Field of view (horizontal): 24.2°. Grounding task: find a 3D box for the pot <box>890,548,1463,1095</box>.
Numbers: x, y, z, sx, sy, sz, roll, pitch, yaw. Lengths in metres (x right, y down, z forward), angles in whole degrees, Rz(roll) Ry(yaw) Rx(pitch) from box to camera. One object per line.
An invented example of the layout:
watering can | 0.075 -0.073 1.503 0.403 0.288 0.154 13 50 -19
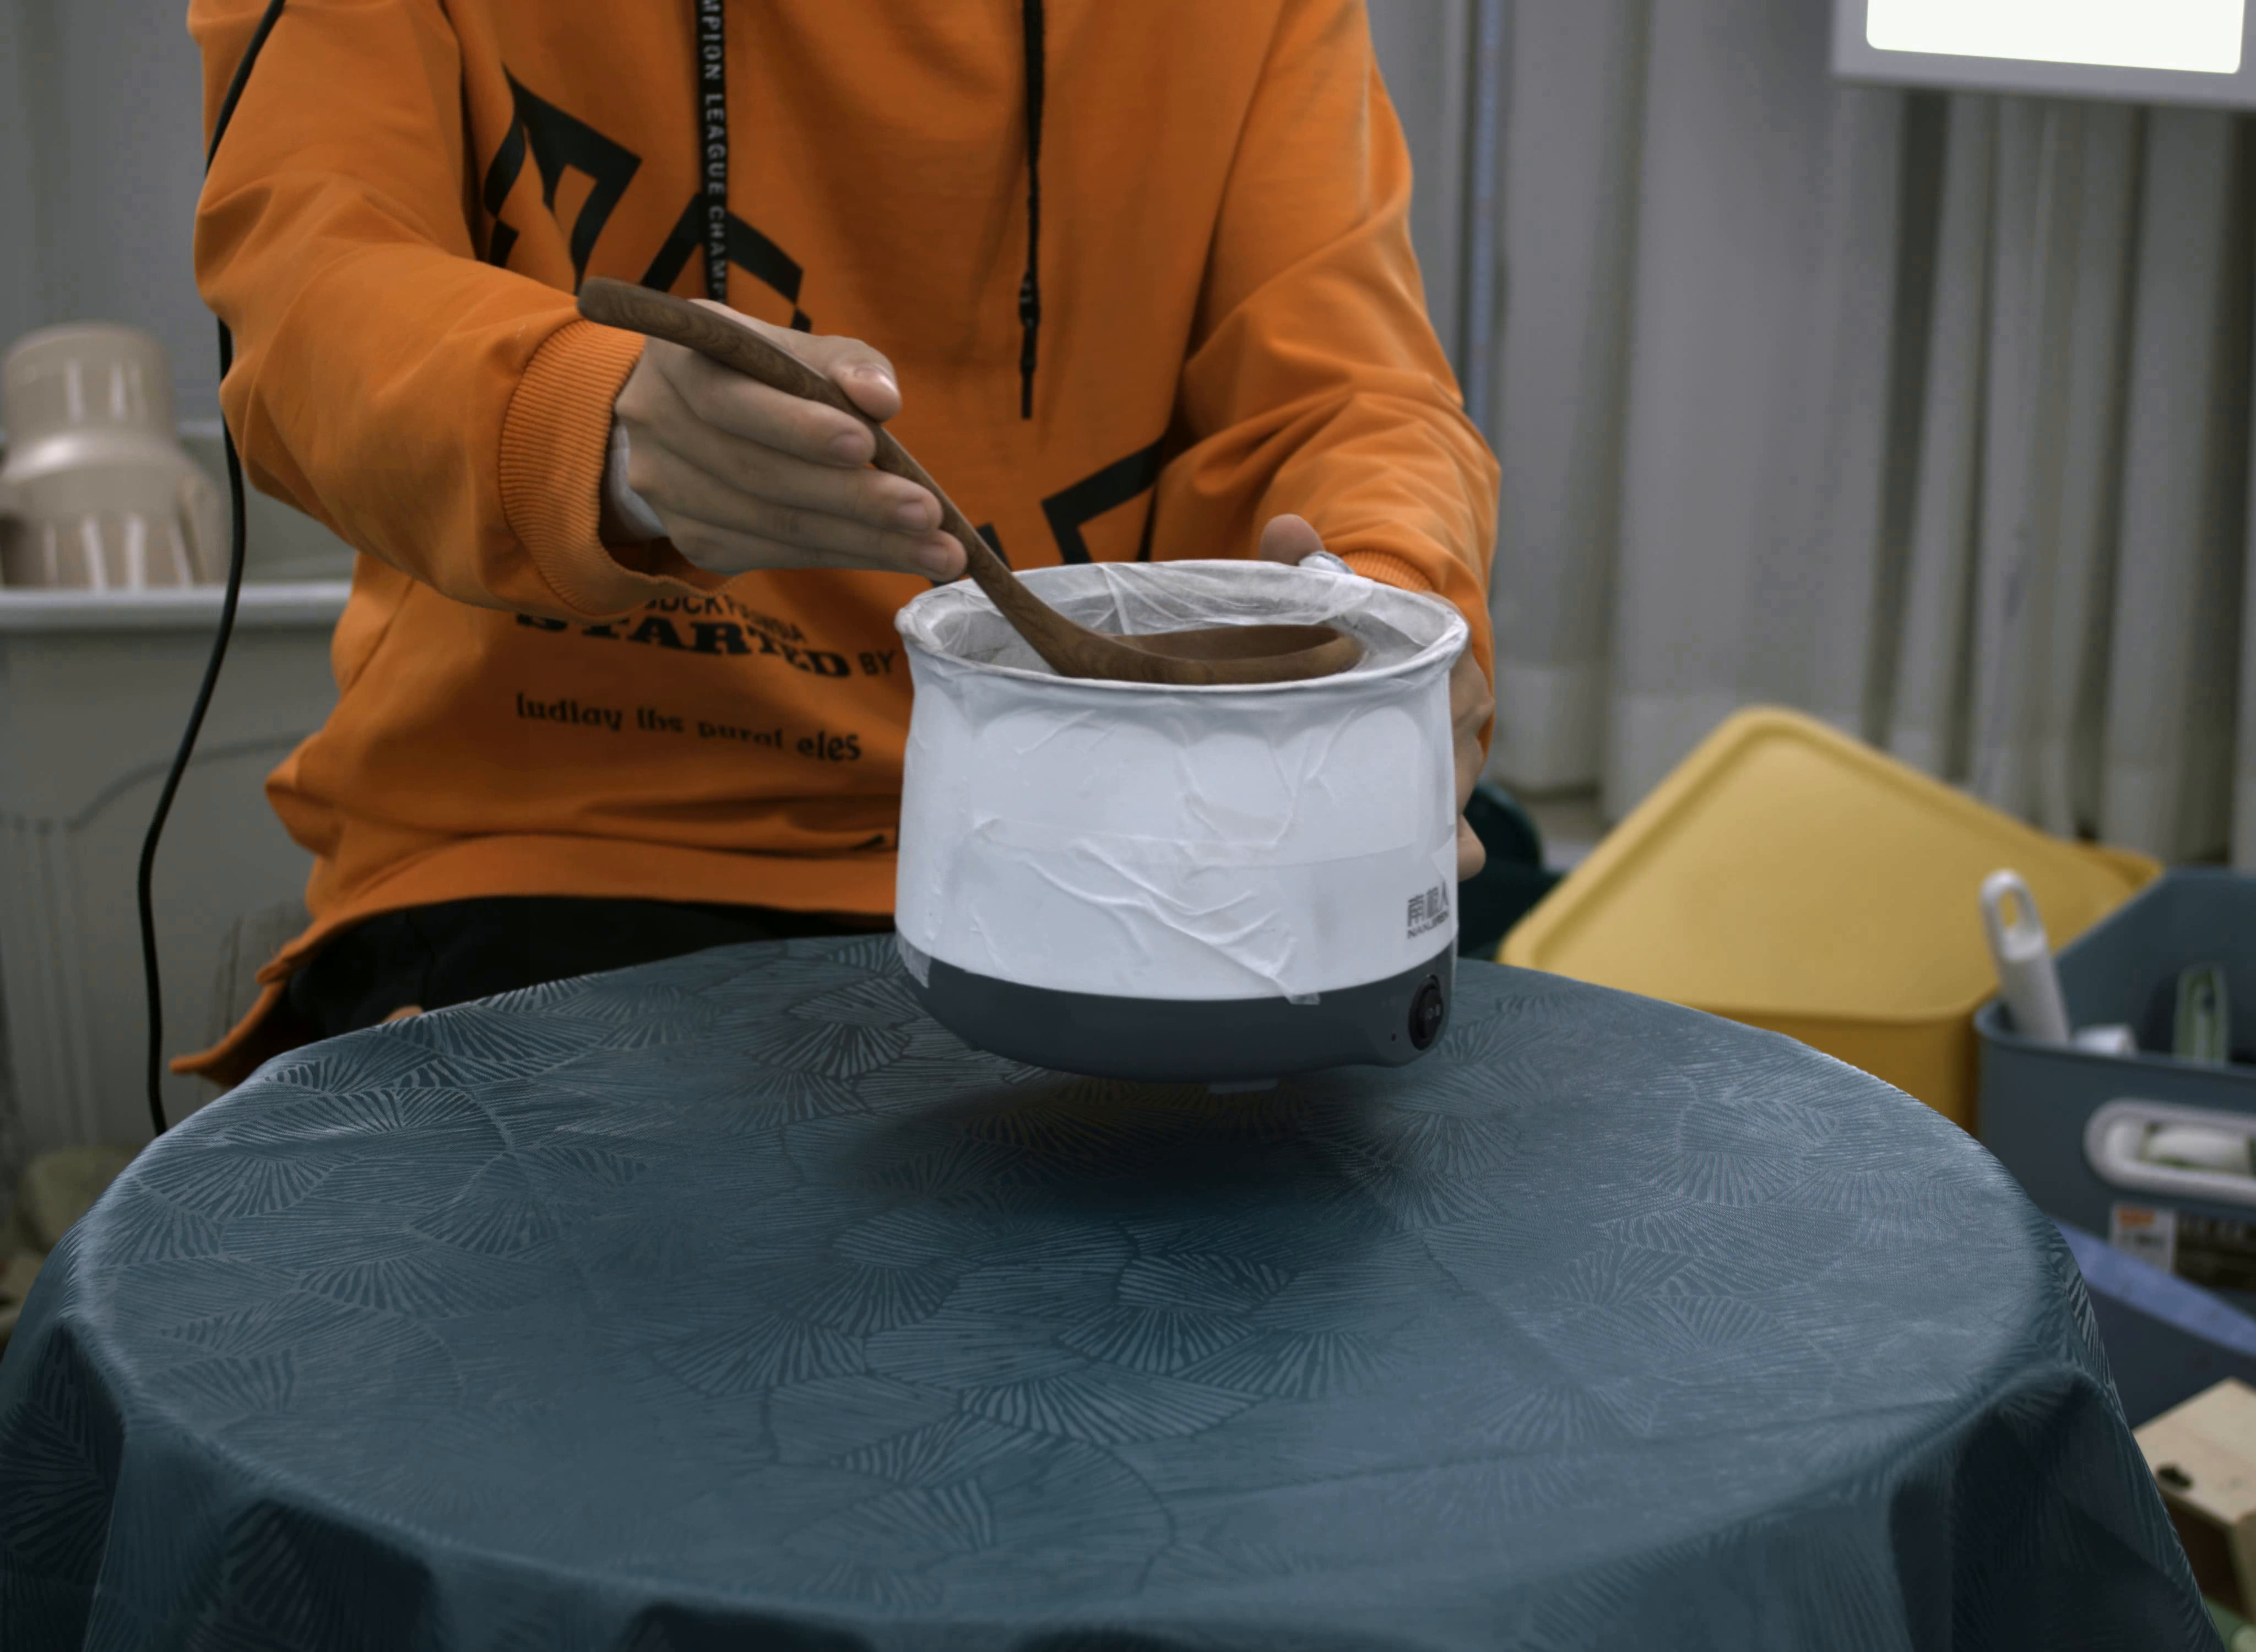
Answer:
pot | 0.027 -0.009 1.666 0.177 0.138 0.234 9 17 25

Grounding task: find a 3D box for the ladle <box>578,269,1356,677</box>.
ladle | -0.045 -0.105 1.573 0.262 0.065 0.076 37 -5 -16
